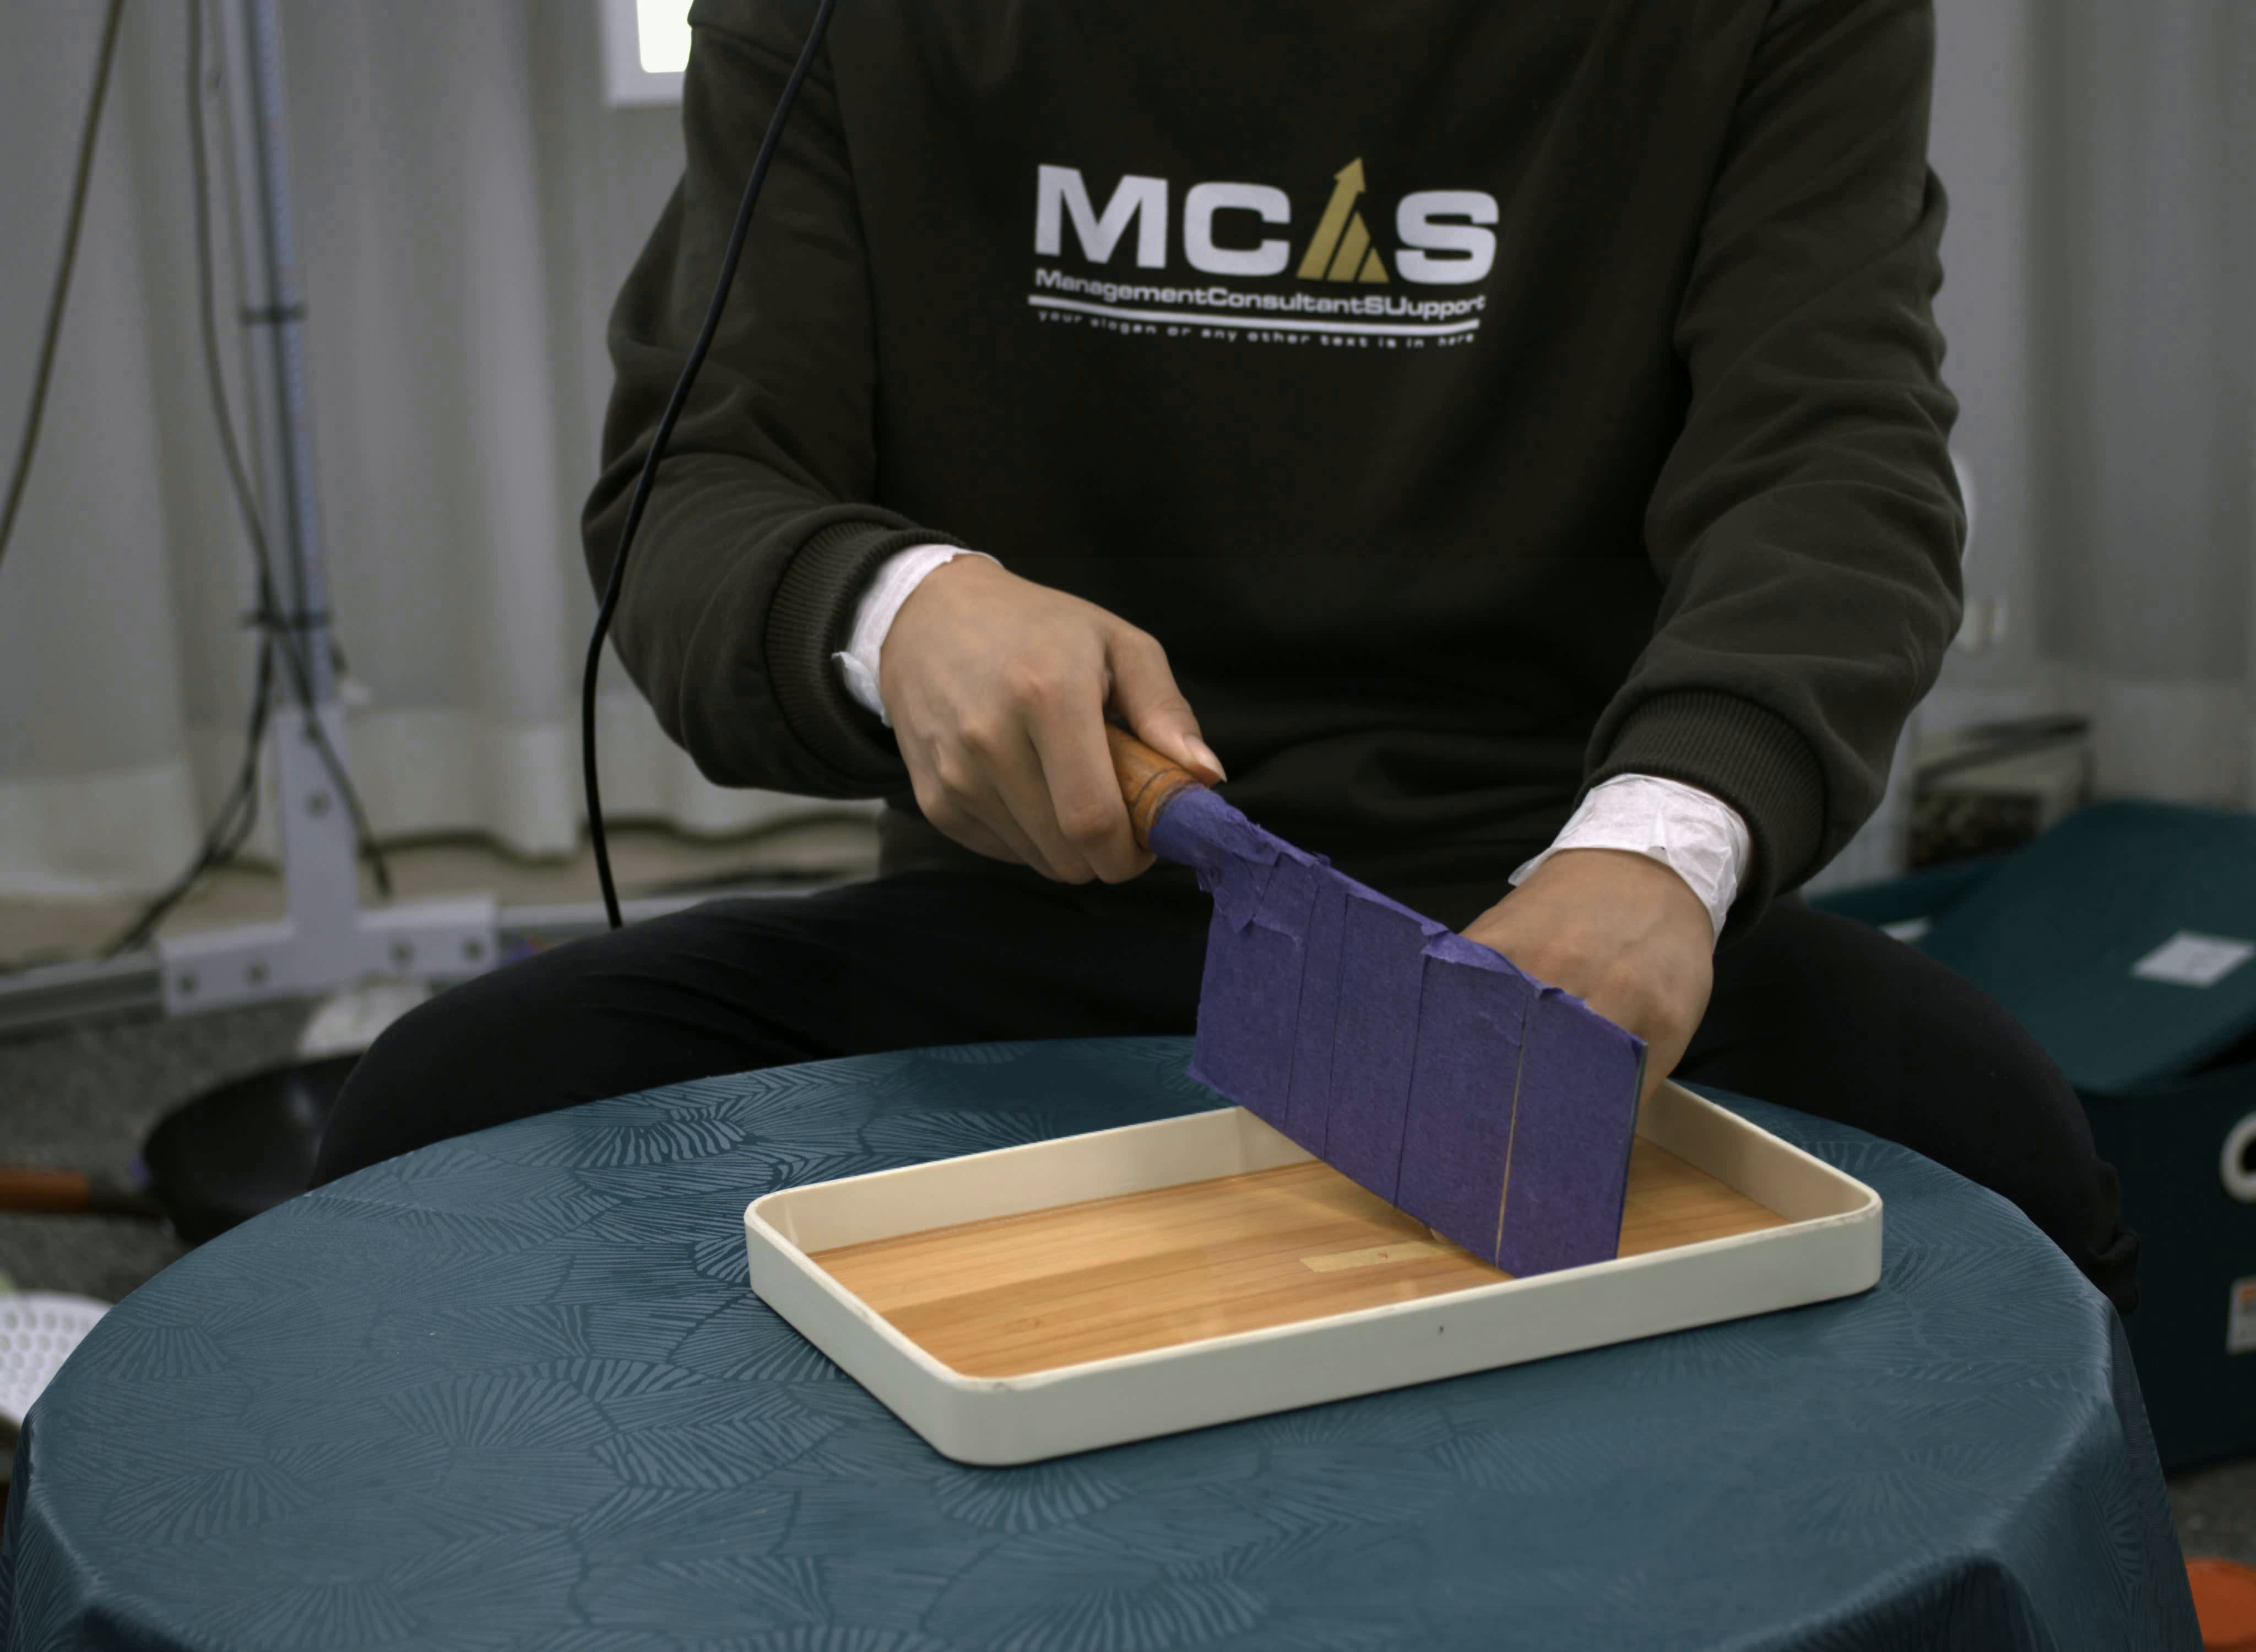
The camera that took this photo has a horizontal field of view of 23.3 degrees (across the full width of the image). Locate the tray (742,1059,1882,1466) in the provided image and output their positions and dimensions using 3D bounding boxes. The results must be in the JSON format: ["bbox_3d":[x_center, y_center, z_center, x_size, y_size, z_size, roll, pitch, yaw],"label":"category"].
[{"bbox_3d":[0.053,0.123,1.622,0.299,0.027,0.193,-9,16,-22],"label":"tray"}]

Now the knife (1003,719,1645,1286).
[{"bbox_3d":[0.051,0.052,1.671,0.032,0.103,0.318,-1,18,-34],"label":"knife"}]
